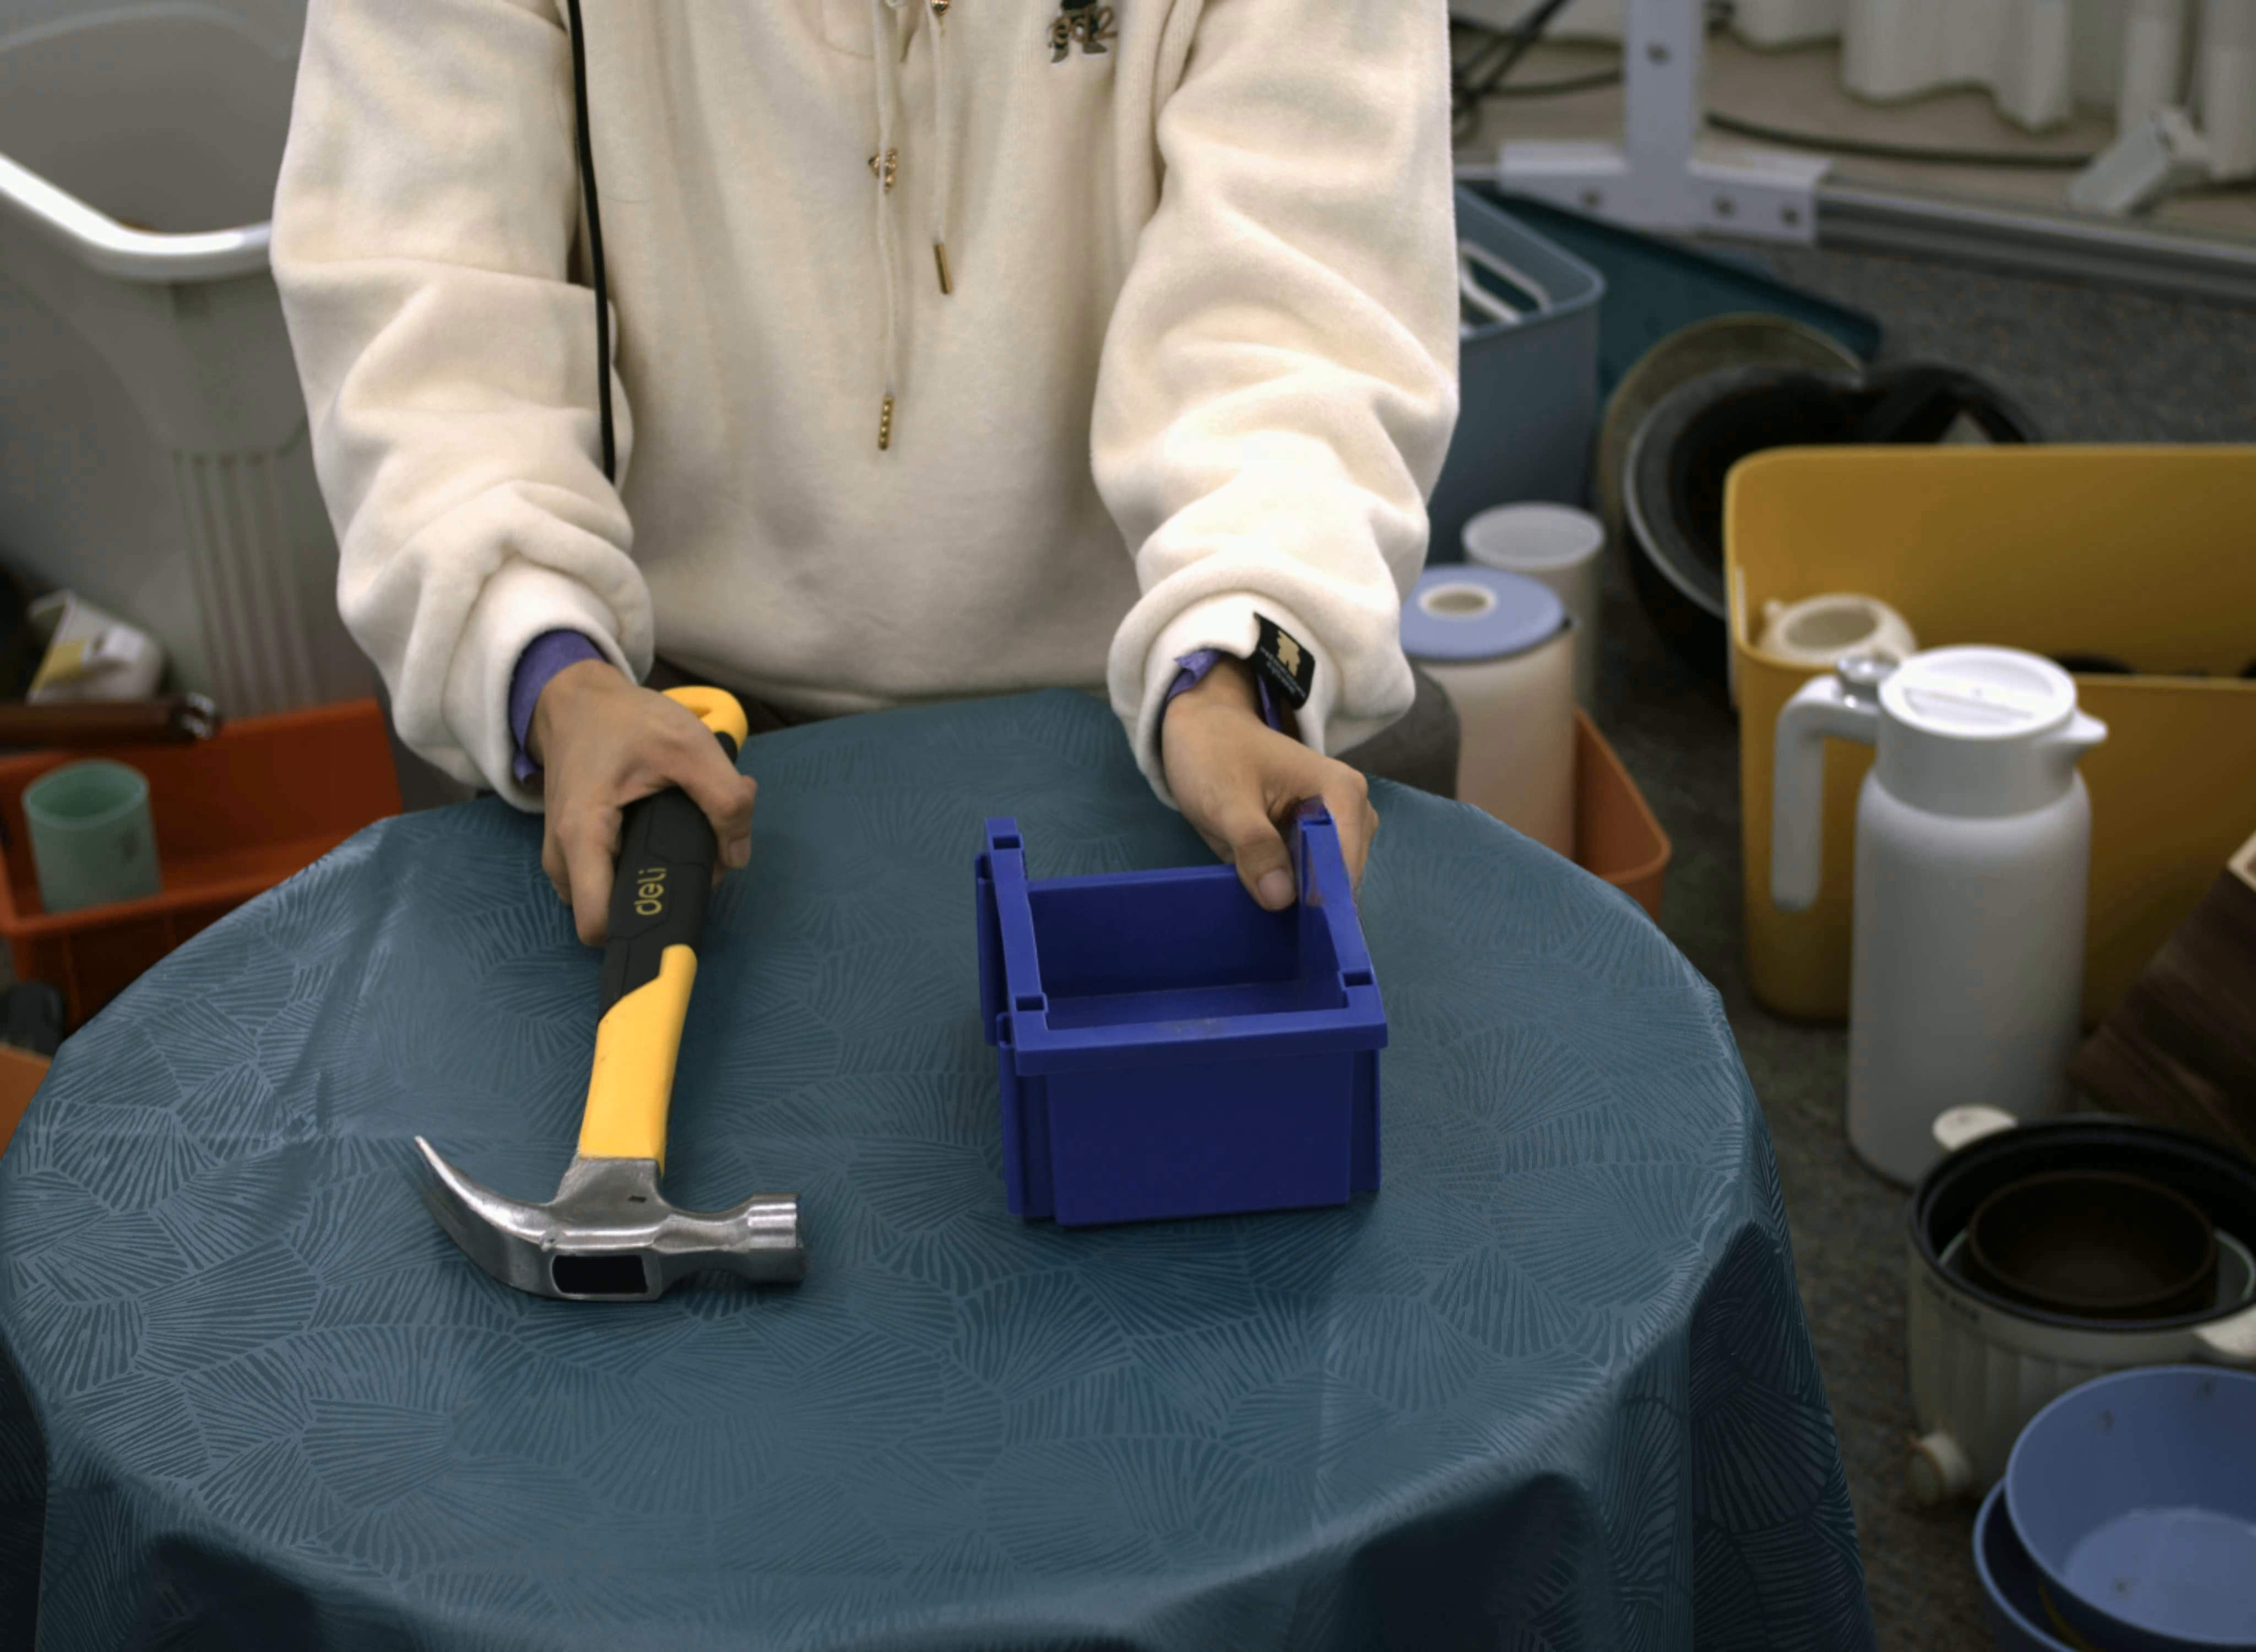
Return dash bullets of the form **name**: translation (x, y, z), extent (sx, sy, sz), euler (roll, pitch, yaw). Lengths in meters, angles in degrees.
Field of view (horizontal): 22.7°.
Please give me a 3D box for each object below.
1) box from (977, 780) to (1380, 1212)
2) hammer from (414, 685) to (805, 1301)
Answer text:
- **box**: translation (0.014, 0.052, 1.898), extent (0.124, 0.081, 0.182), euler (-4, 31, -3)
- **hammer**: translation (-0.165, 0.050, 1.948), extent (0.130, 0.032, 0.344), euler (-2, 33, 4)
